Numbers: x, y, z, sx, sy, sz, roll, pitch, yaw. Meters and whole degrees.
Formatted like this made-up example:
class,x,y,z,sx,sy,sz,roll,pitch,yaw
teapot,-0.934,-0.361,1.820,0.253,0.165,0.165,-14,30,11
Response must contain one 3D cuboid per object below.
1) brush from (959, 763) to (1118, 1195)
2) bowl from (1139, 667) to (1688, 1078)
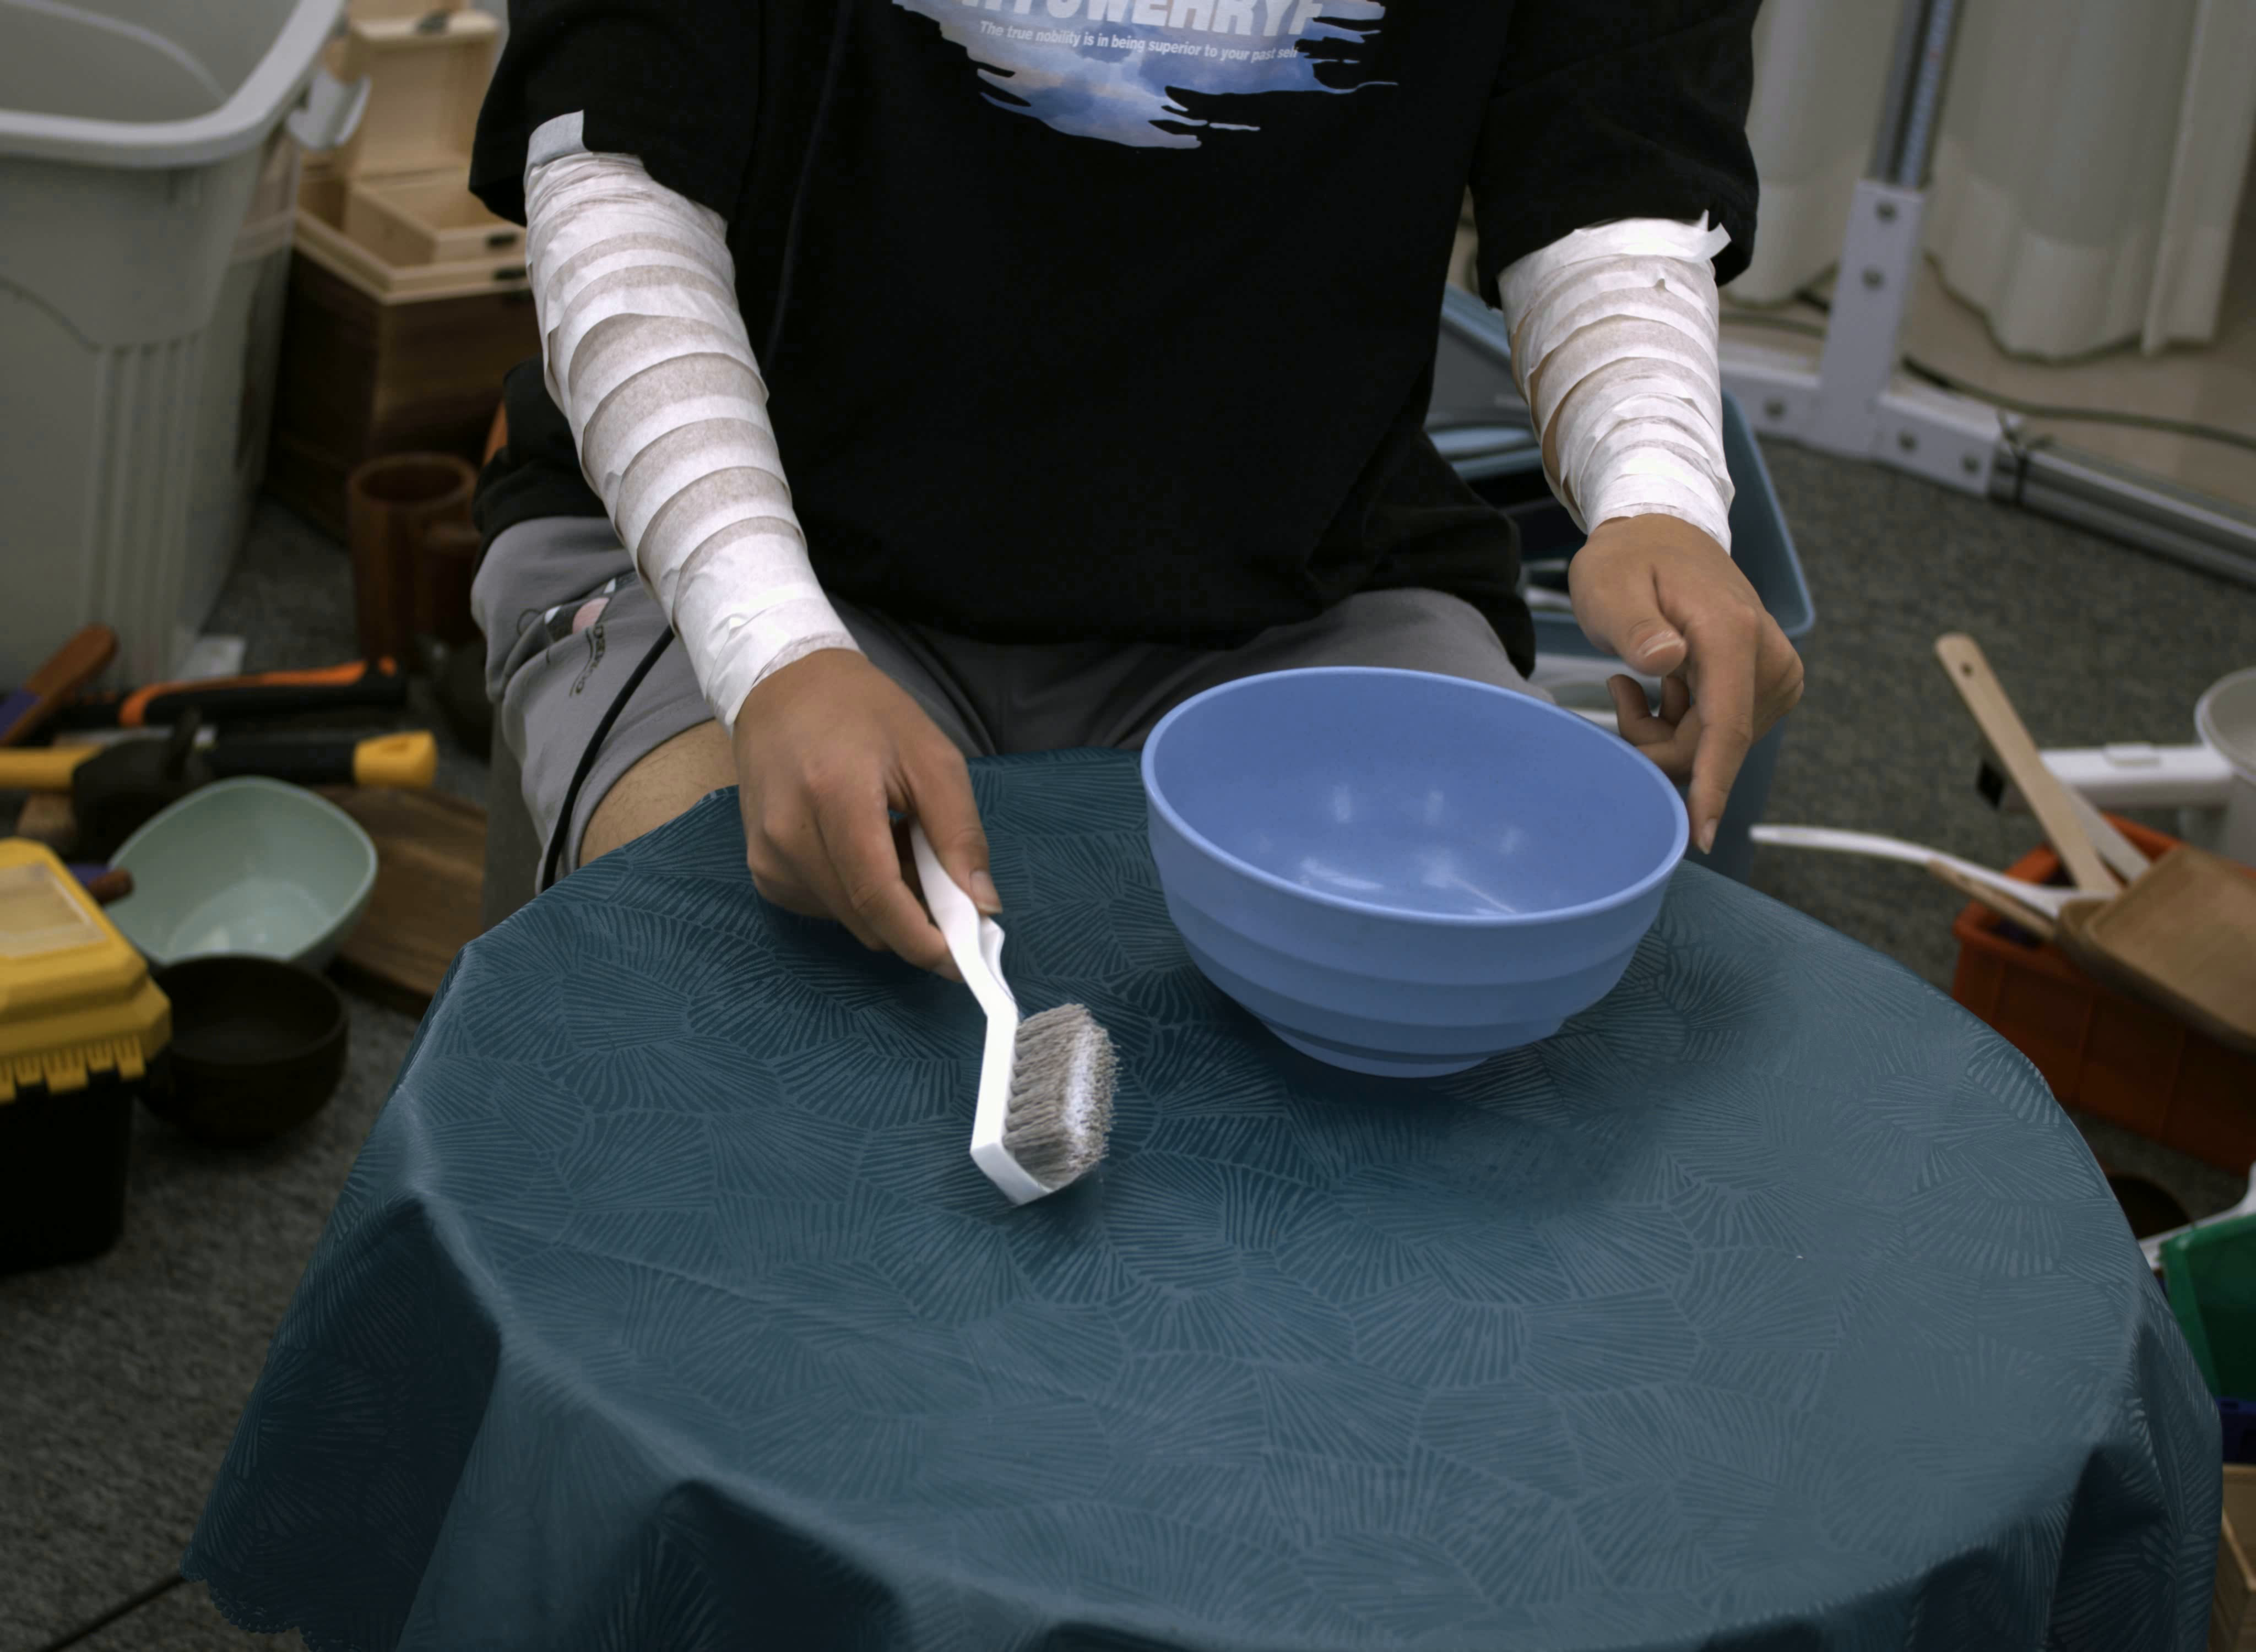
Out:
class,x,y,z,sx,sy,sz,roll,pitch,yaw
brush,-0.028,0.041,1.861,0.034,0.050,0.245,37,28,-22
bowl,0.097,0.027,1.911,0.196,0.095,0.198,4,27,-3
